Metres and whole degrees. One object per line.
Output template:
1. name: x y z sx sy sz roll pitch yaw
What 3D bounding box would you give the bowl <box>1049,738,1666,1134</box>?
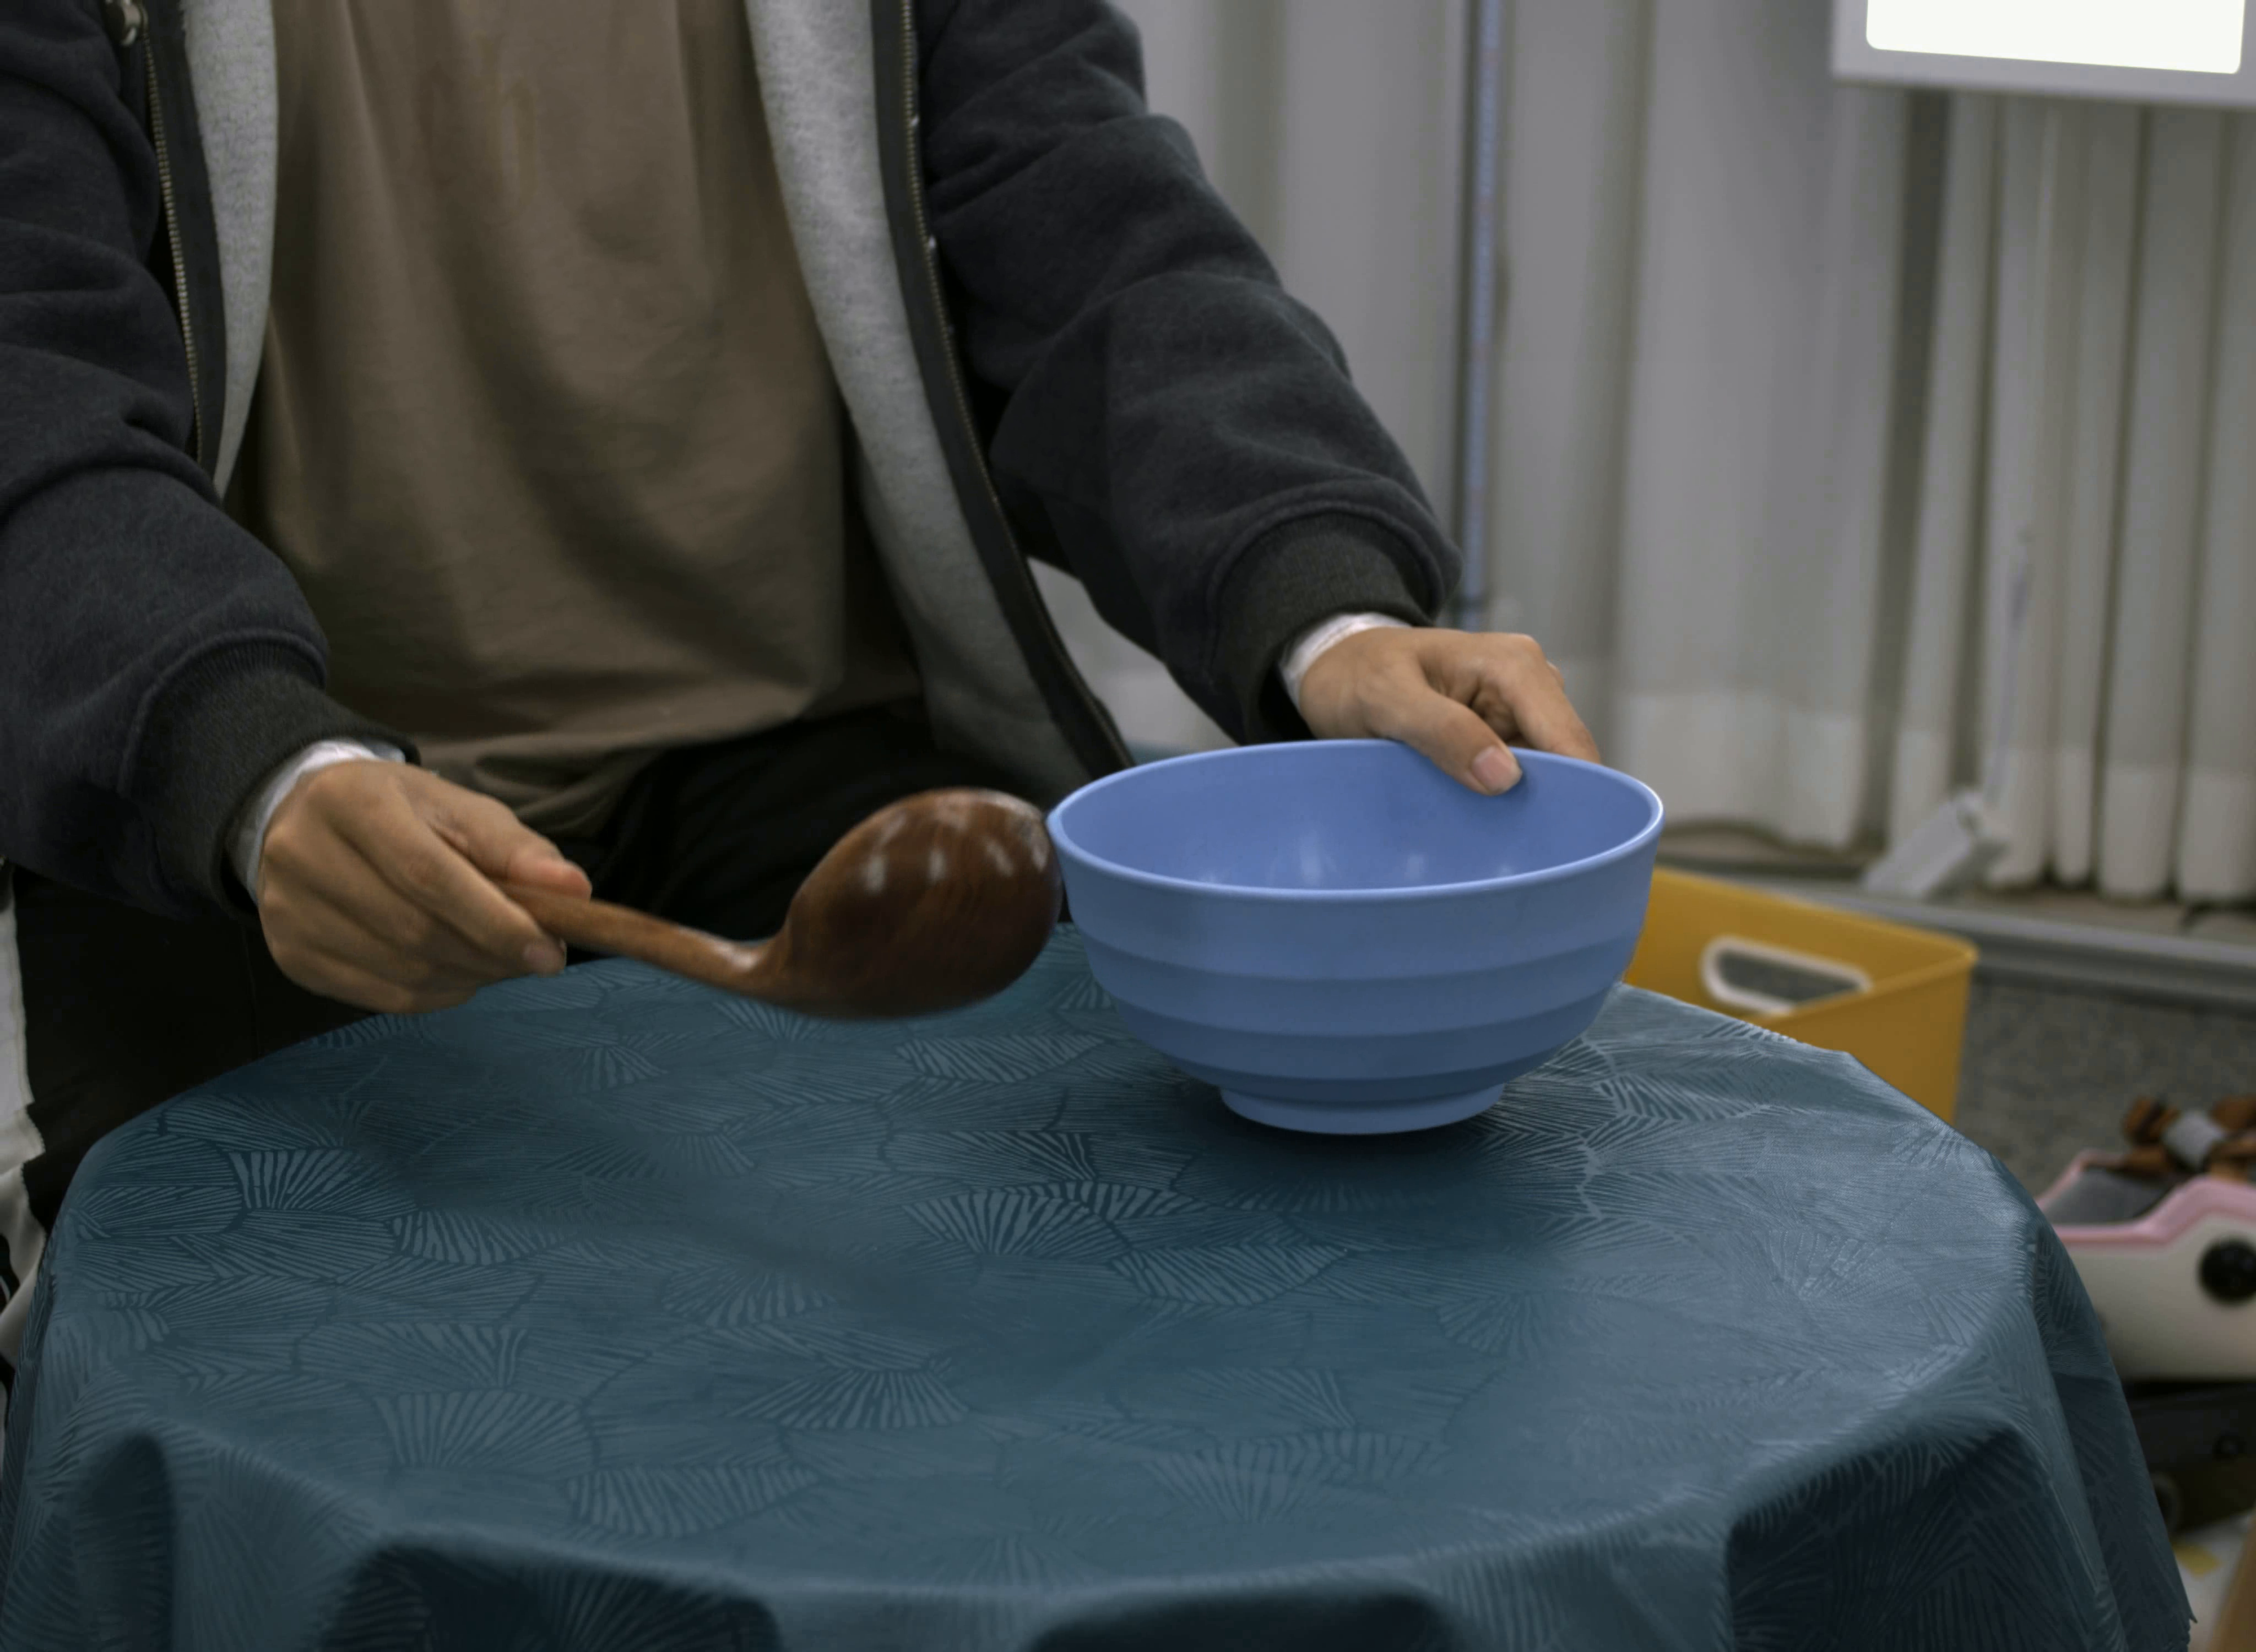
1. bowl: 0.074 0.040 1.685 0.196 0.096 0.195 -2 15 1

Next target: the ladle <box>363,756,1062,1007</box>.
1. ladle: -0.132 0.007 1.579 0.270 0.076 0.083 9 -19 45
